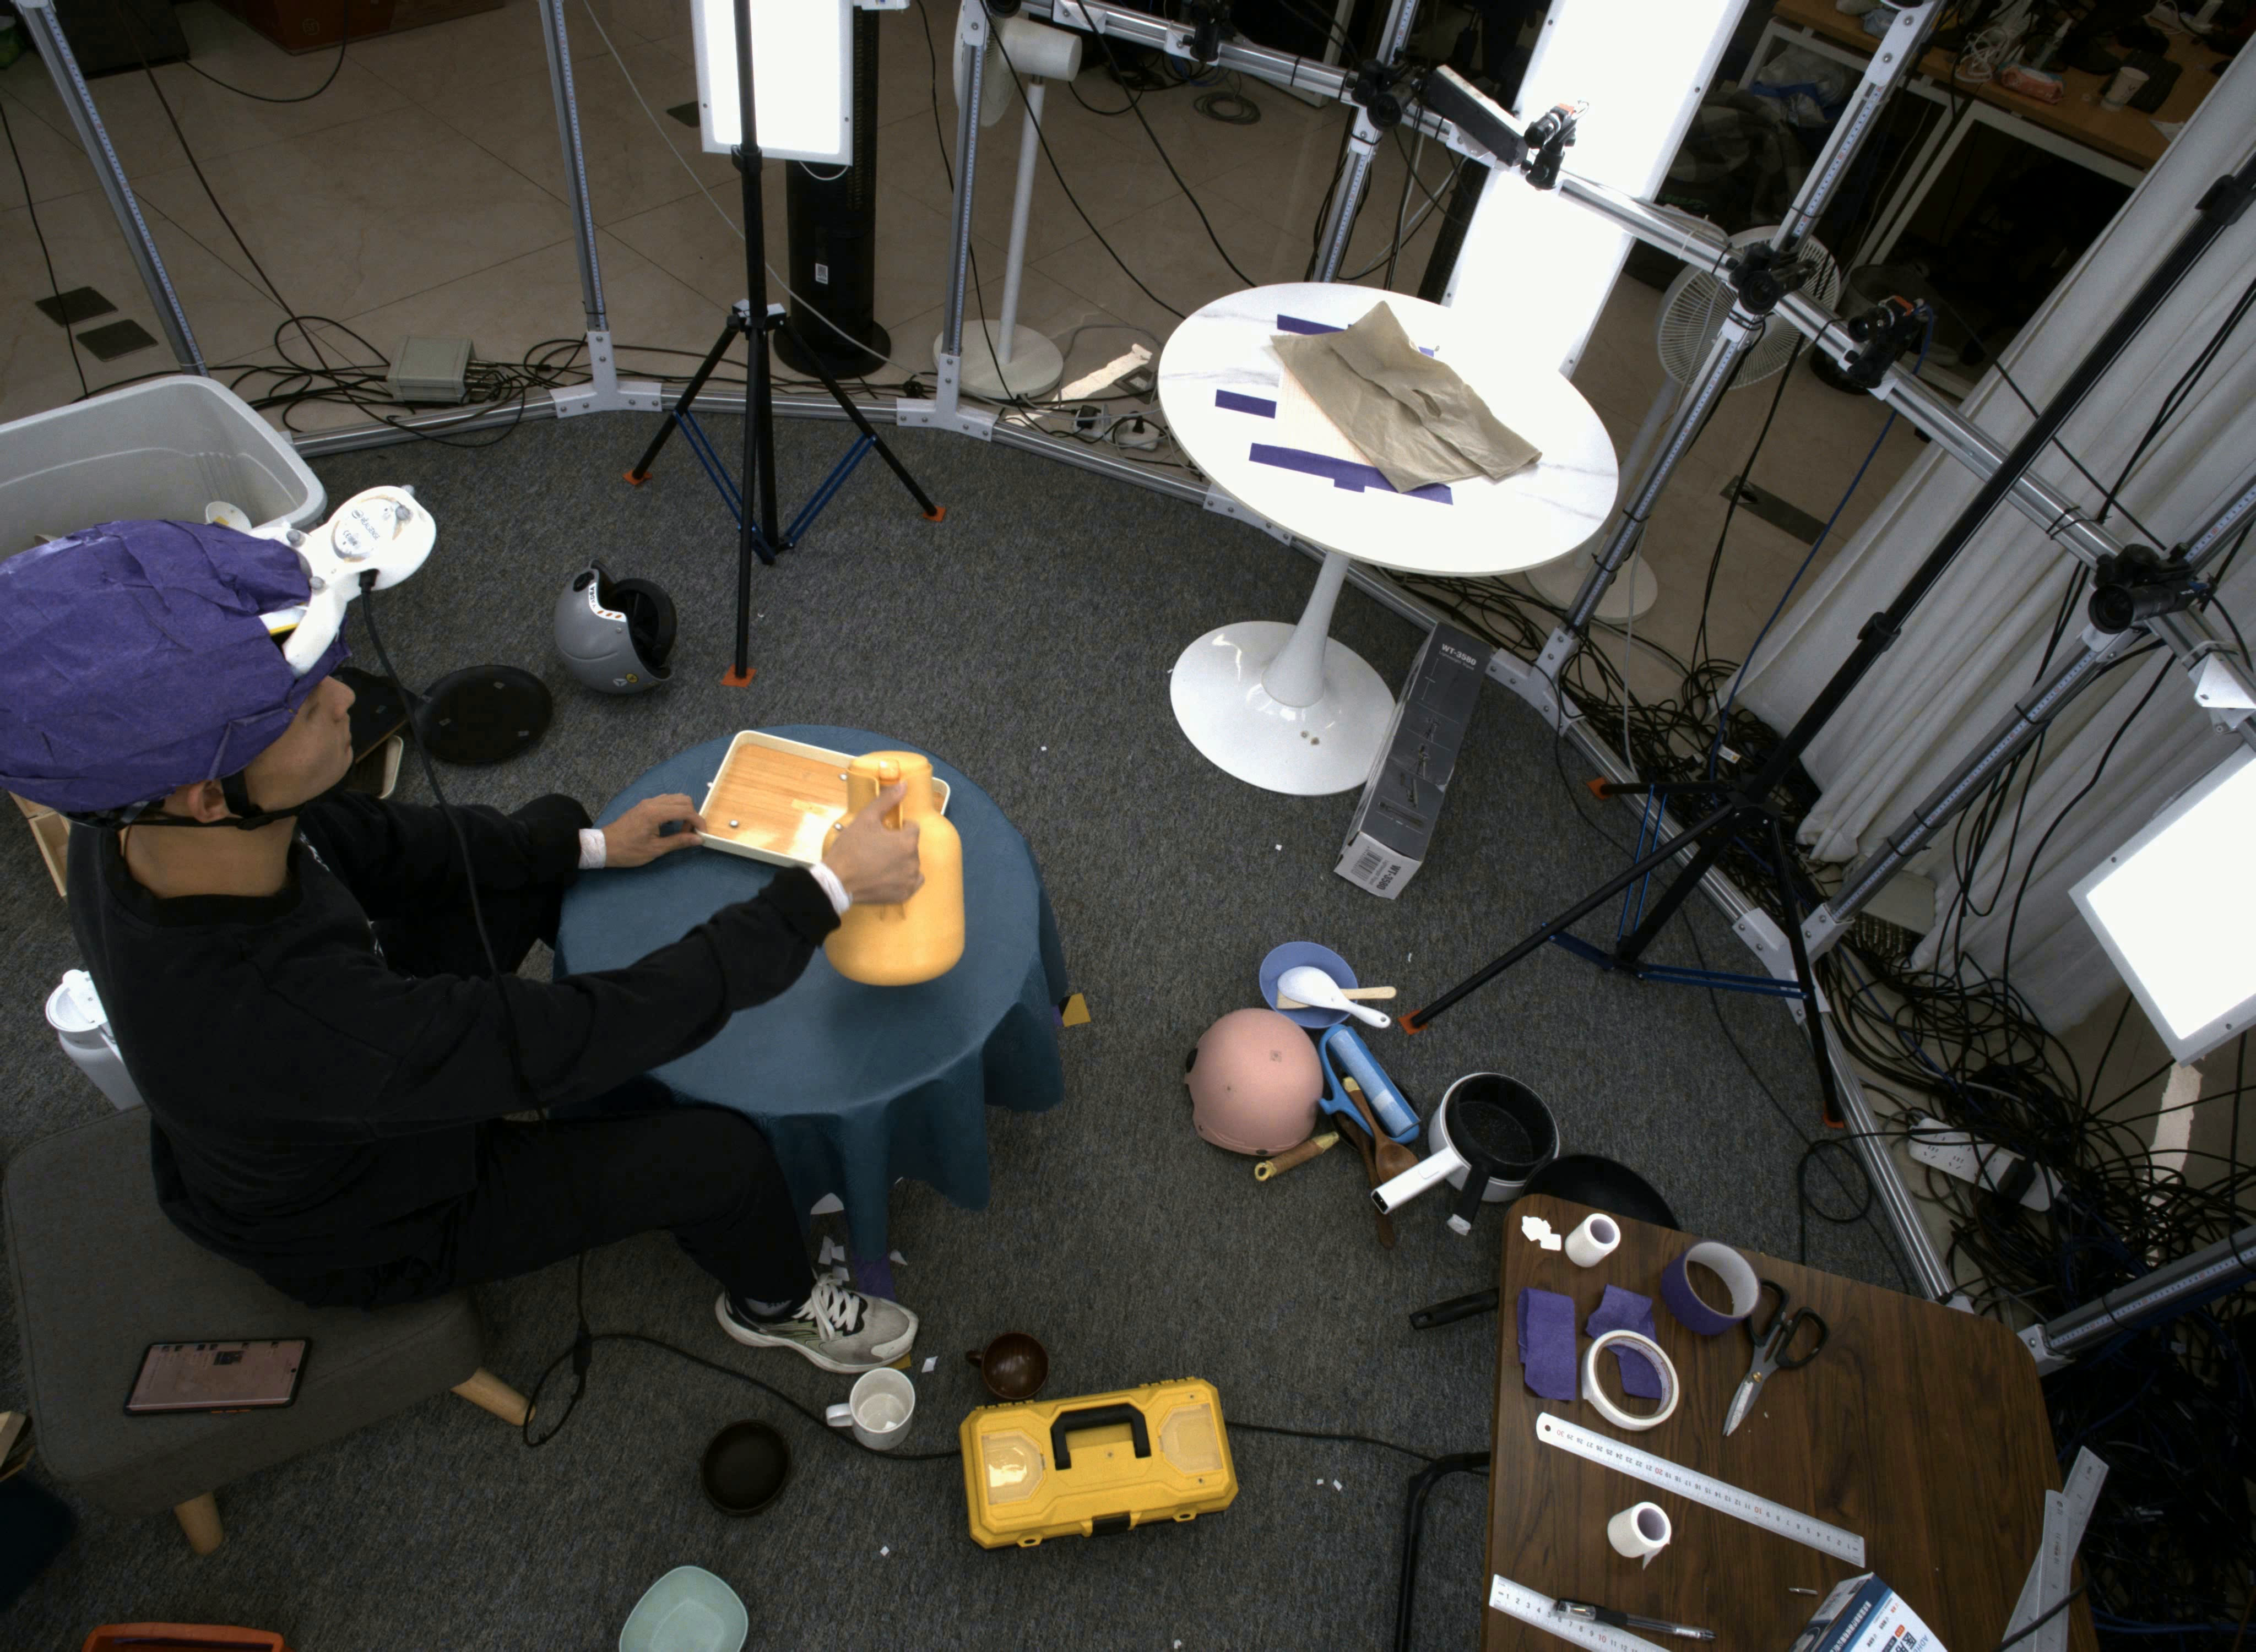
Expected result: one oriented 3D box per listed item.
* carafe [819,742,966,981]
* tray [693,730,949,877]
[{"bbox_3d":[-0.272,0.040,1.475,0.163,0.266,0.198,-5,13,-8],"label":"carafe"},{"bbox_3d":[-0.400,-0.019,1.715,0.299,0.028,0.188,15,50,-7],"label":"tray"}]
